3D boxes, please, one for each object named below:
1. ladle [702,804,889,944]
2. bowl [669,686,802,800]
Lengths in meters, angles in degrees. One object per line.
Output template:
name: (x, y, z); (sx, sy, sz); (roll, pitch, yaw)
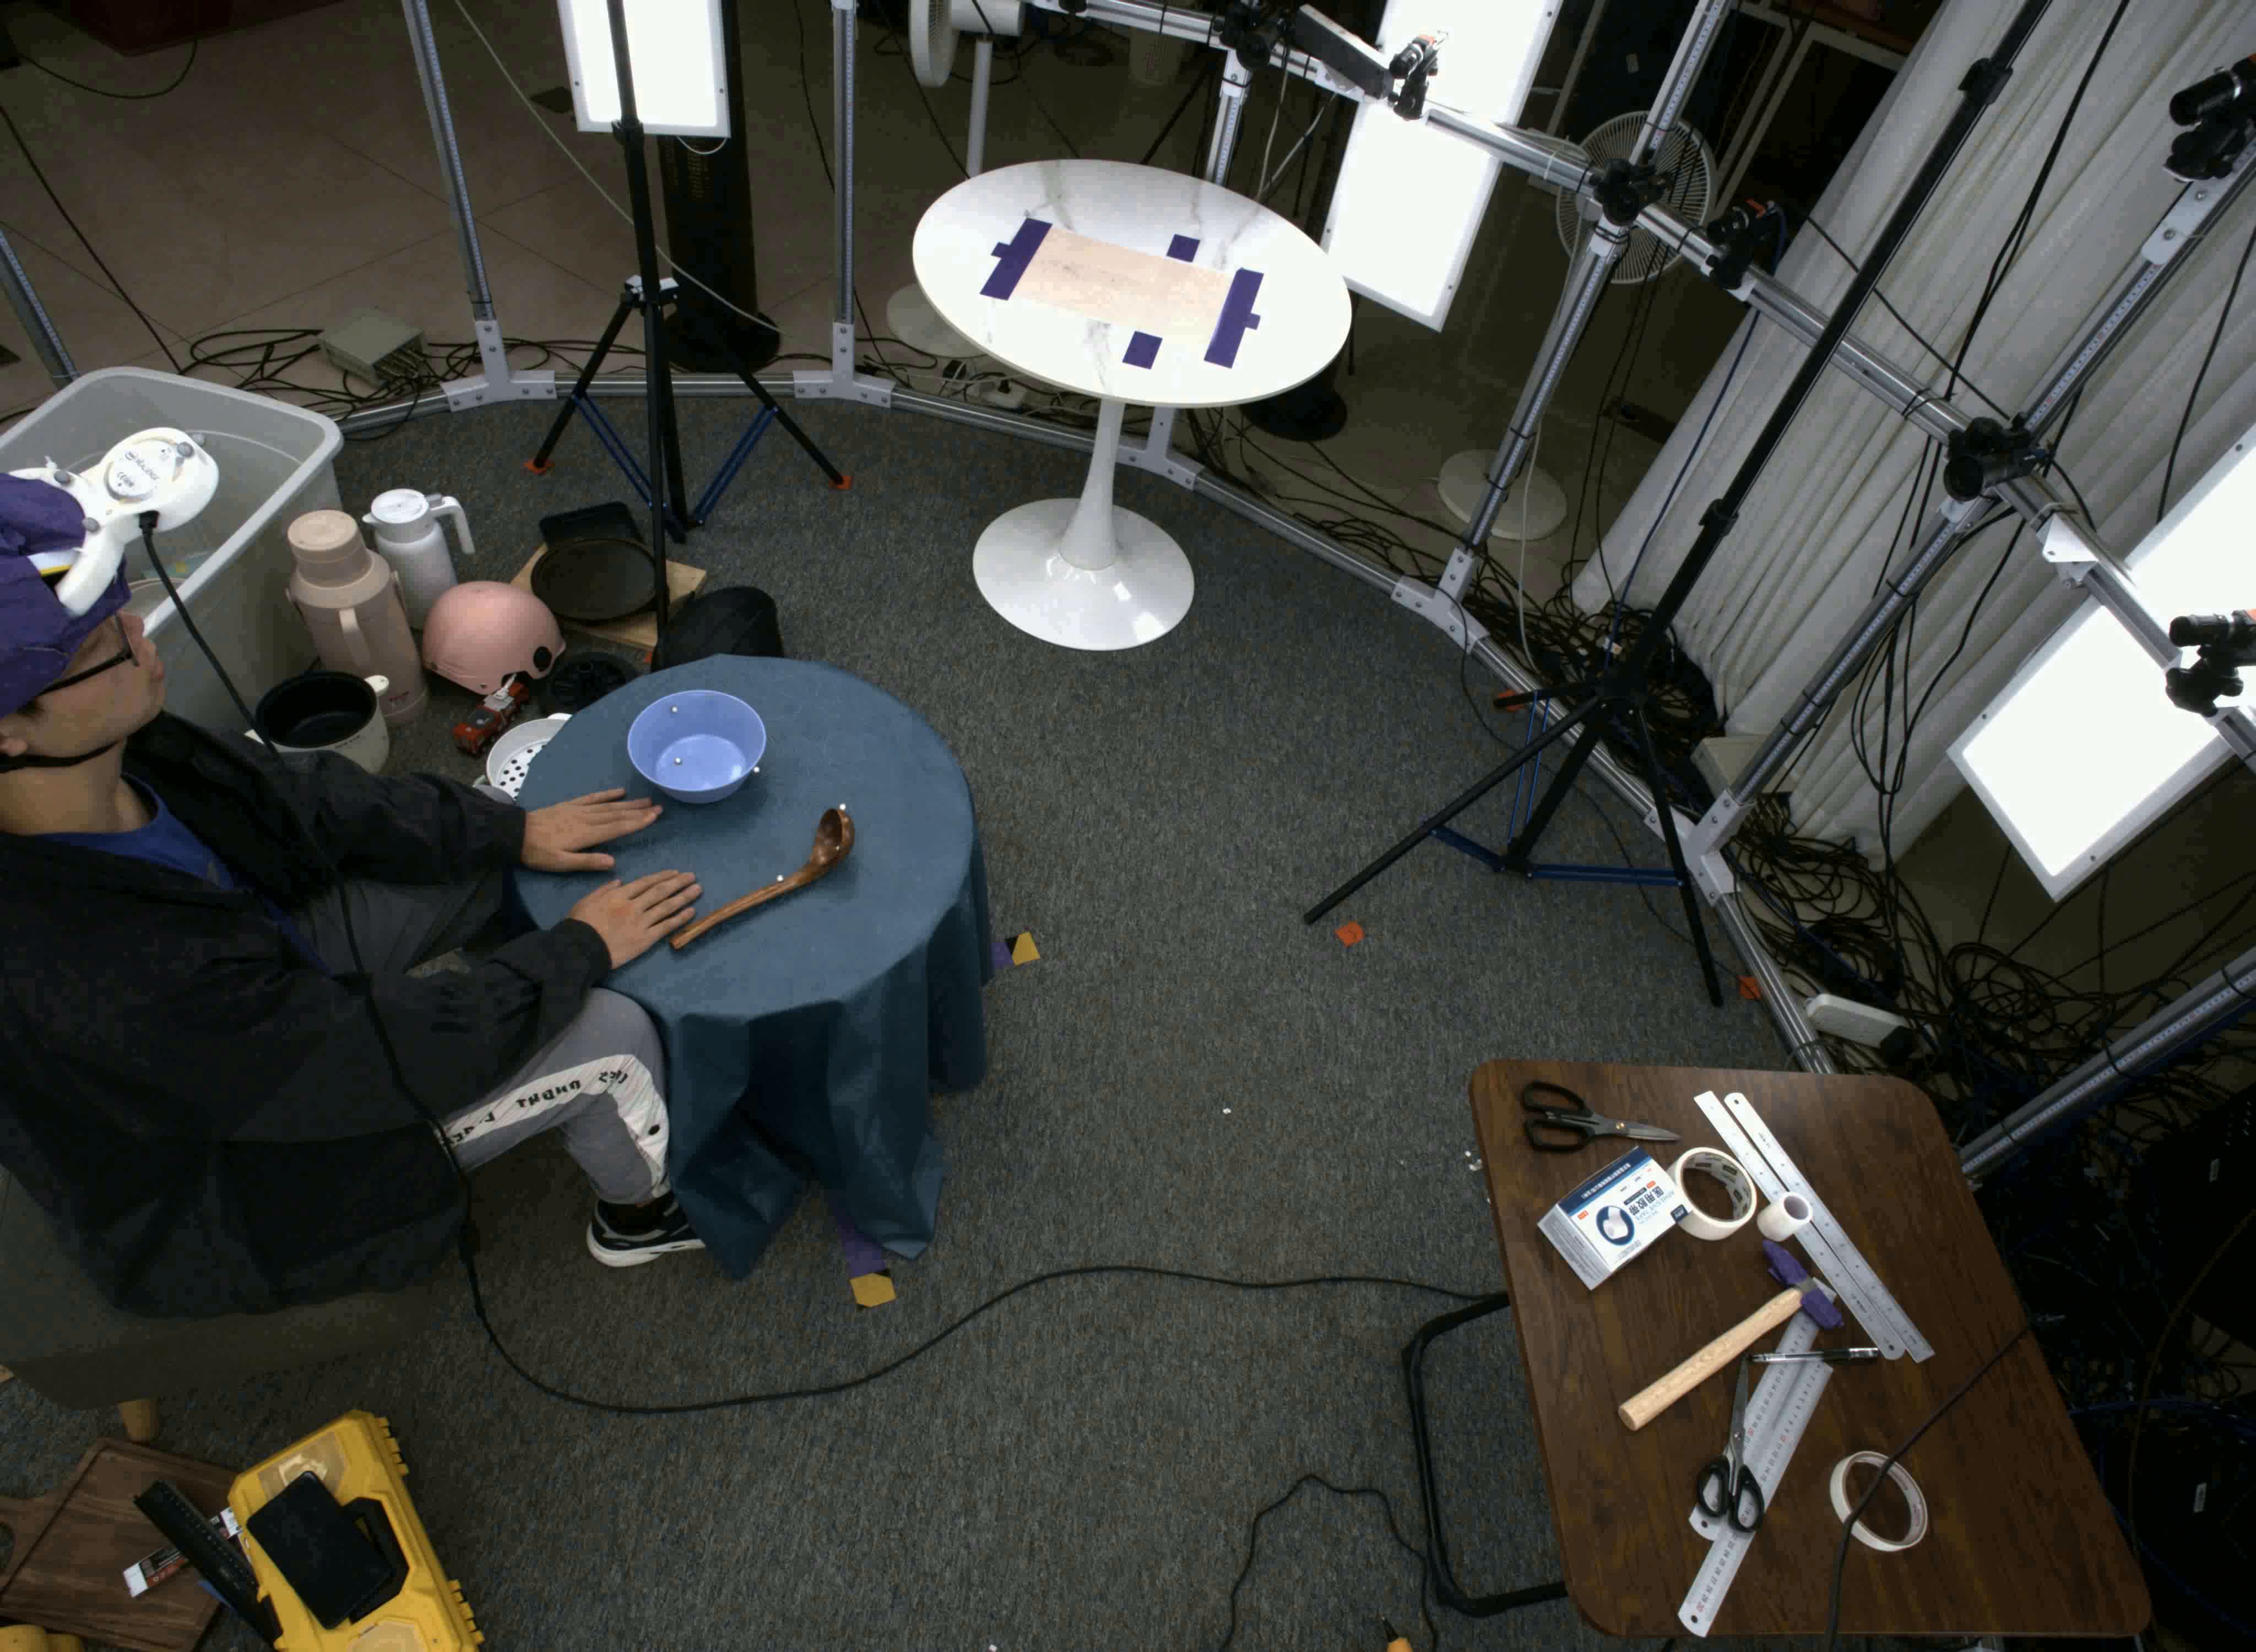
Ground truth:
ladle: (-0.425, 0.055, 1.649); (0.275, 0.079, 0.079); (-26, 107, -27)
bowl: (-0.526, -0.102, 1.739); (0.175, 0.072, 0.173); (7, 52, -8)
